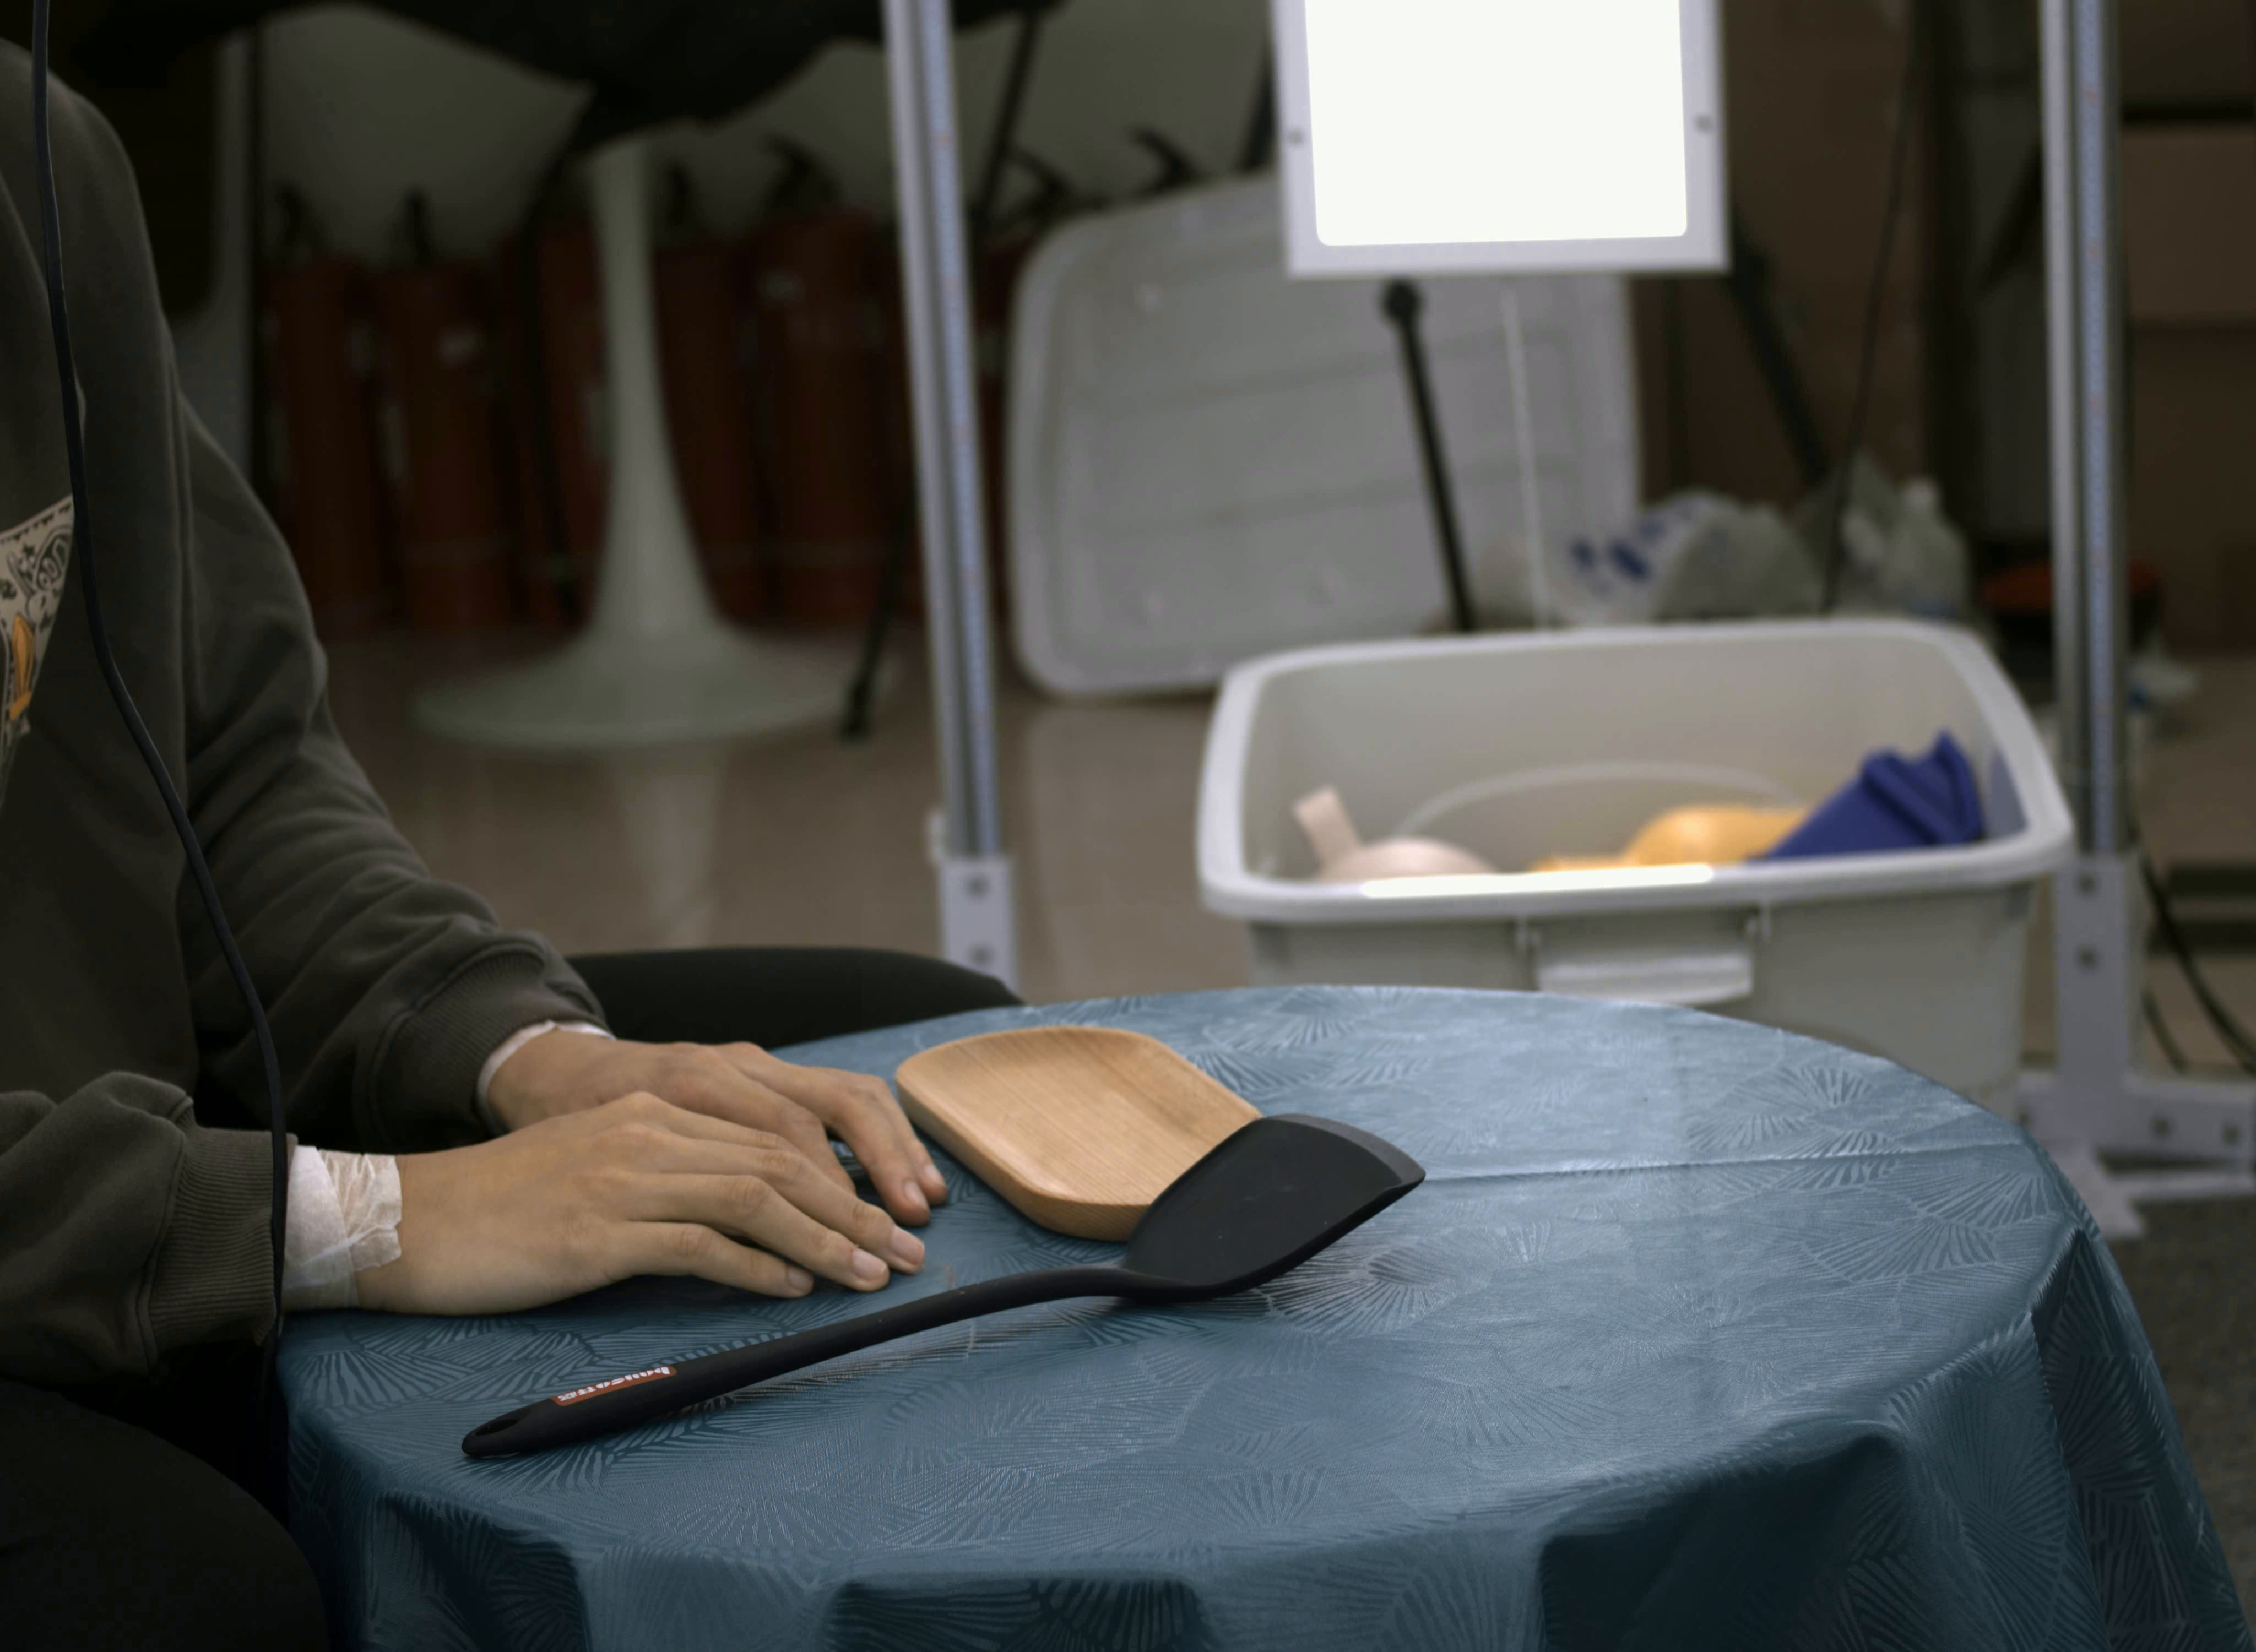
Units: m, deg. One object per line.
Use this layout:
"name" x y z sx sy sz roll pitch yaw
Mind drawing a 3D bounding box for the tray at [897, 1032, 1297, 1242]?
"tray" -0.011 0.108 1.943 0.100 0.020 0.234 -10 16 -17

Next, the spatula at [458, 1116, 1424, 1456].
"spatula" -0.062 0.149 1.752 0.319 0.040 0.101 -11 14 -23
